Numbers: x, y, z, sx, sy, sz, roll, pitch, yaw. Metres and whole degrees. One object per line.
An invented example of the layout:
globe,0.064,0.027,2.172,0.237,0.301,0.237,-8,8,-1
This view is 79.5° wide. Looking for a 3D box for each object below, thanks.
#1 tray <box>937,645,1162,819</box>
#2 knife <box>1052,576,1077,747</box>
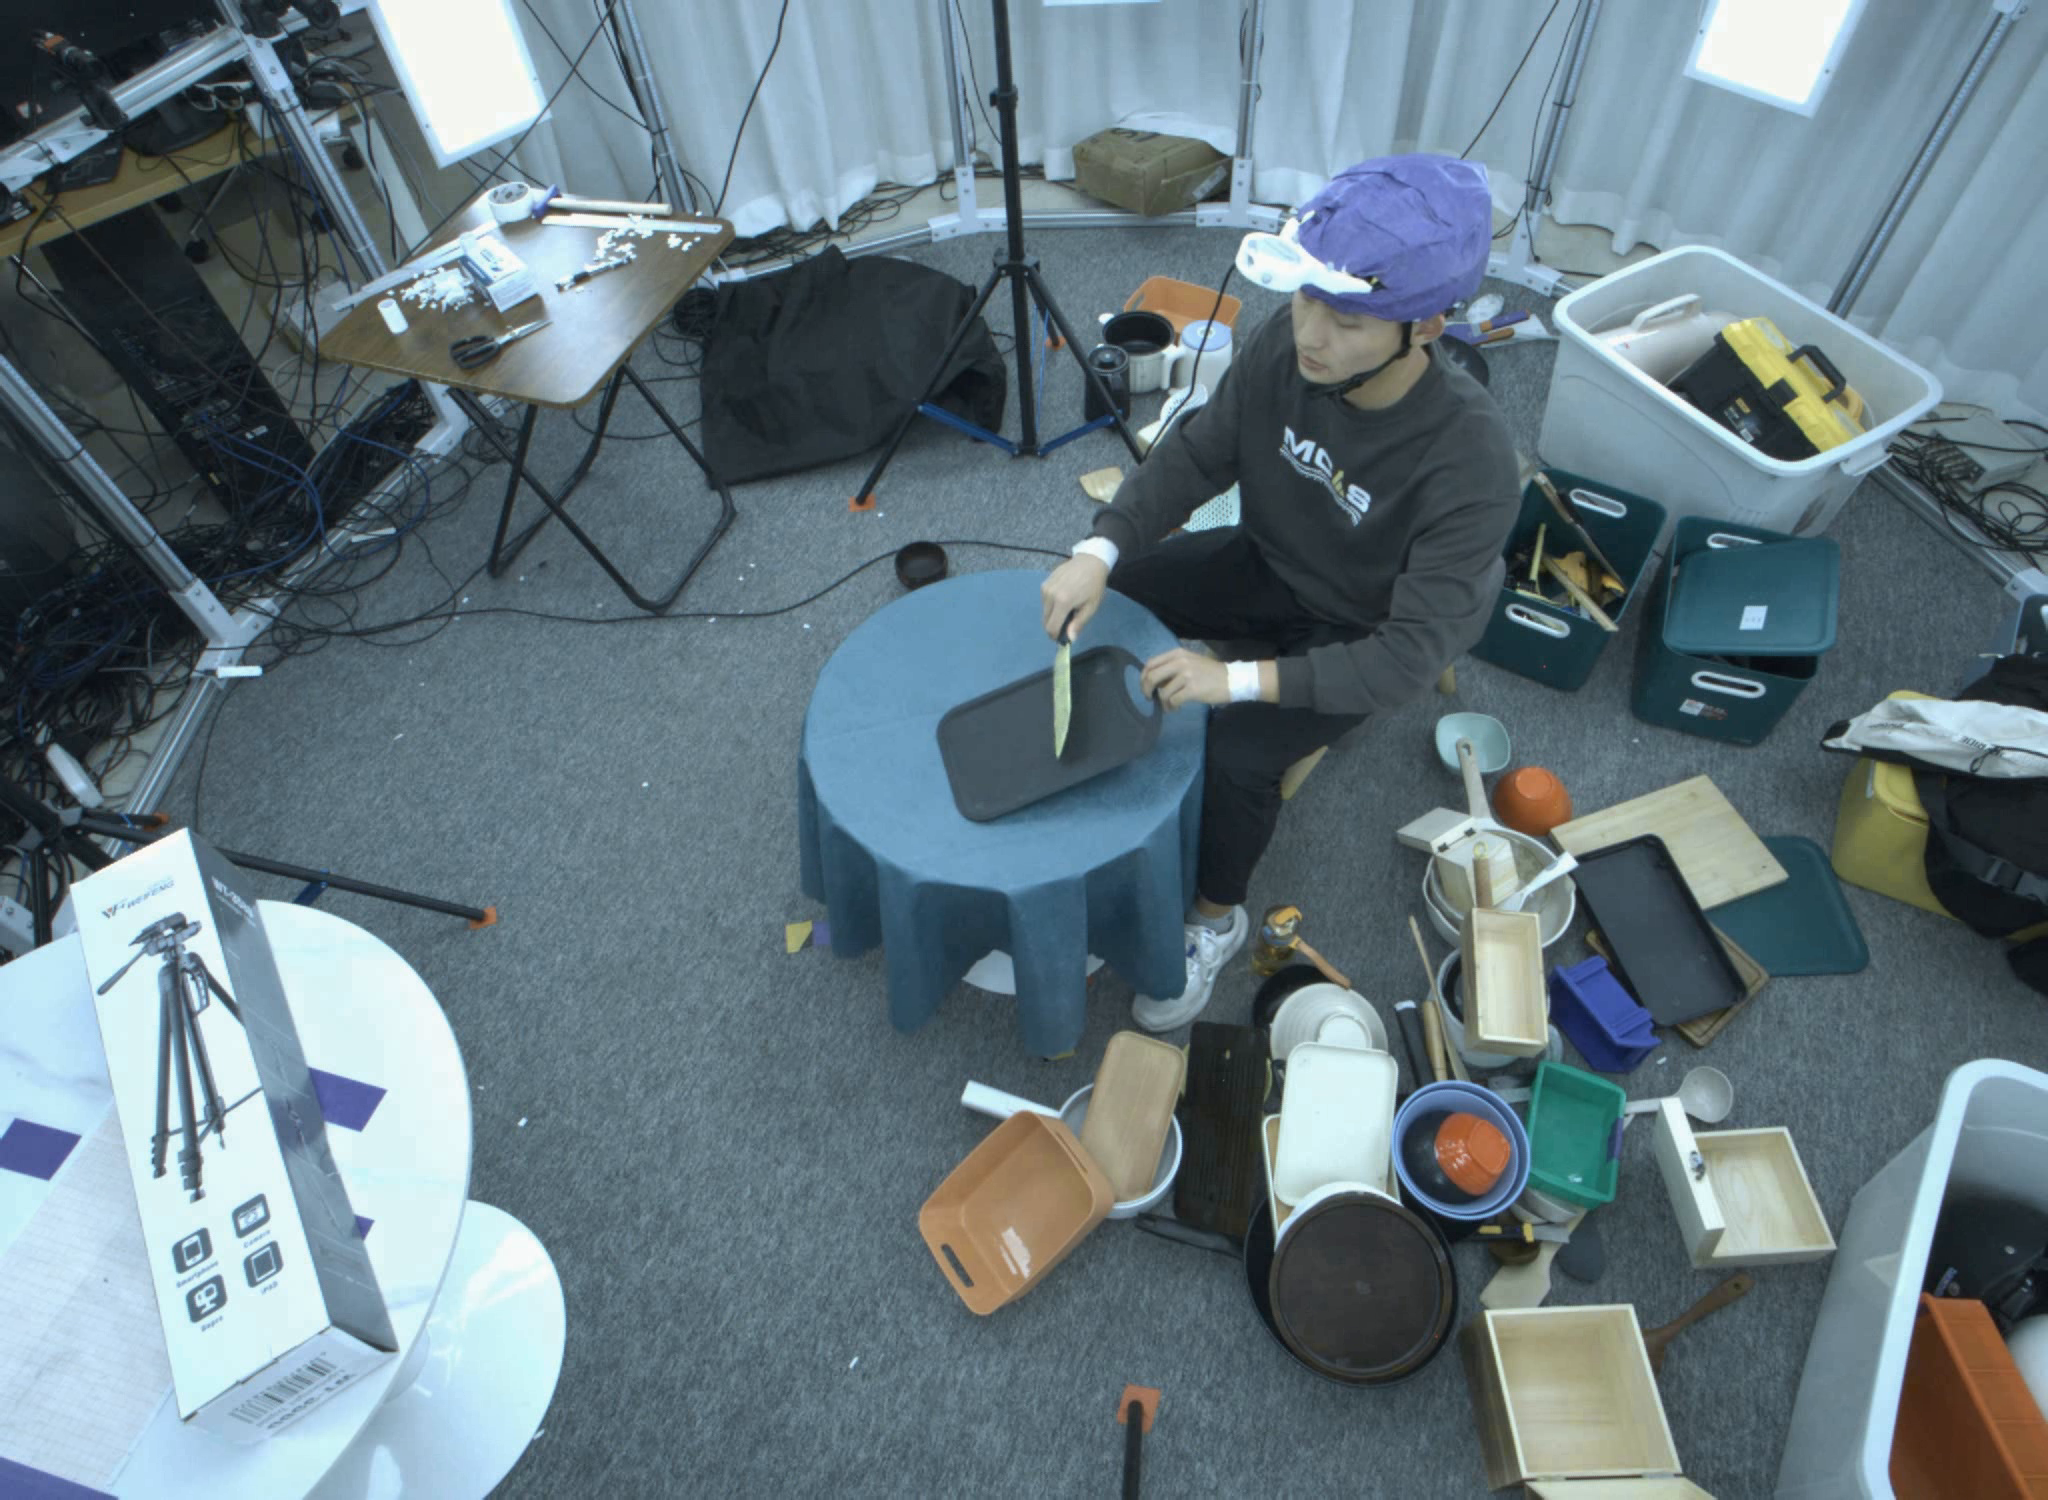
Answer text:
tray,0.037,-0.034,1.765,0.325,0.010,0.207,-22,56,4
knife,0.056,-0.129,1.777,0.027,0.081,0.287,11,59,-15
